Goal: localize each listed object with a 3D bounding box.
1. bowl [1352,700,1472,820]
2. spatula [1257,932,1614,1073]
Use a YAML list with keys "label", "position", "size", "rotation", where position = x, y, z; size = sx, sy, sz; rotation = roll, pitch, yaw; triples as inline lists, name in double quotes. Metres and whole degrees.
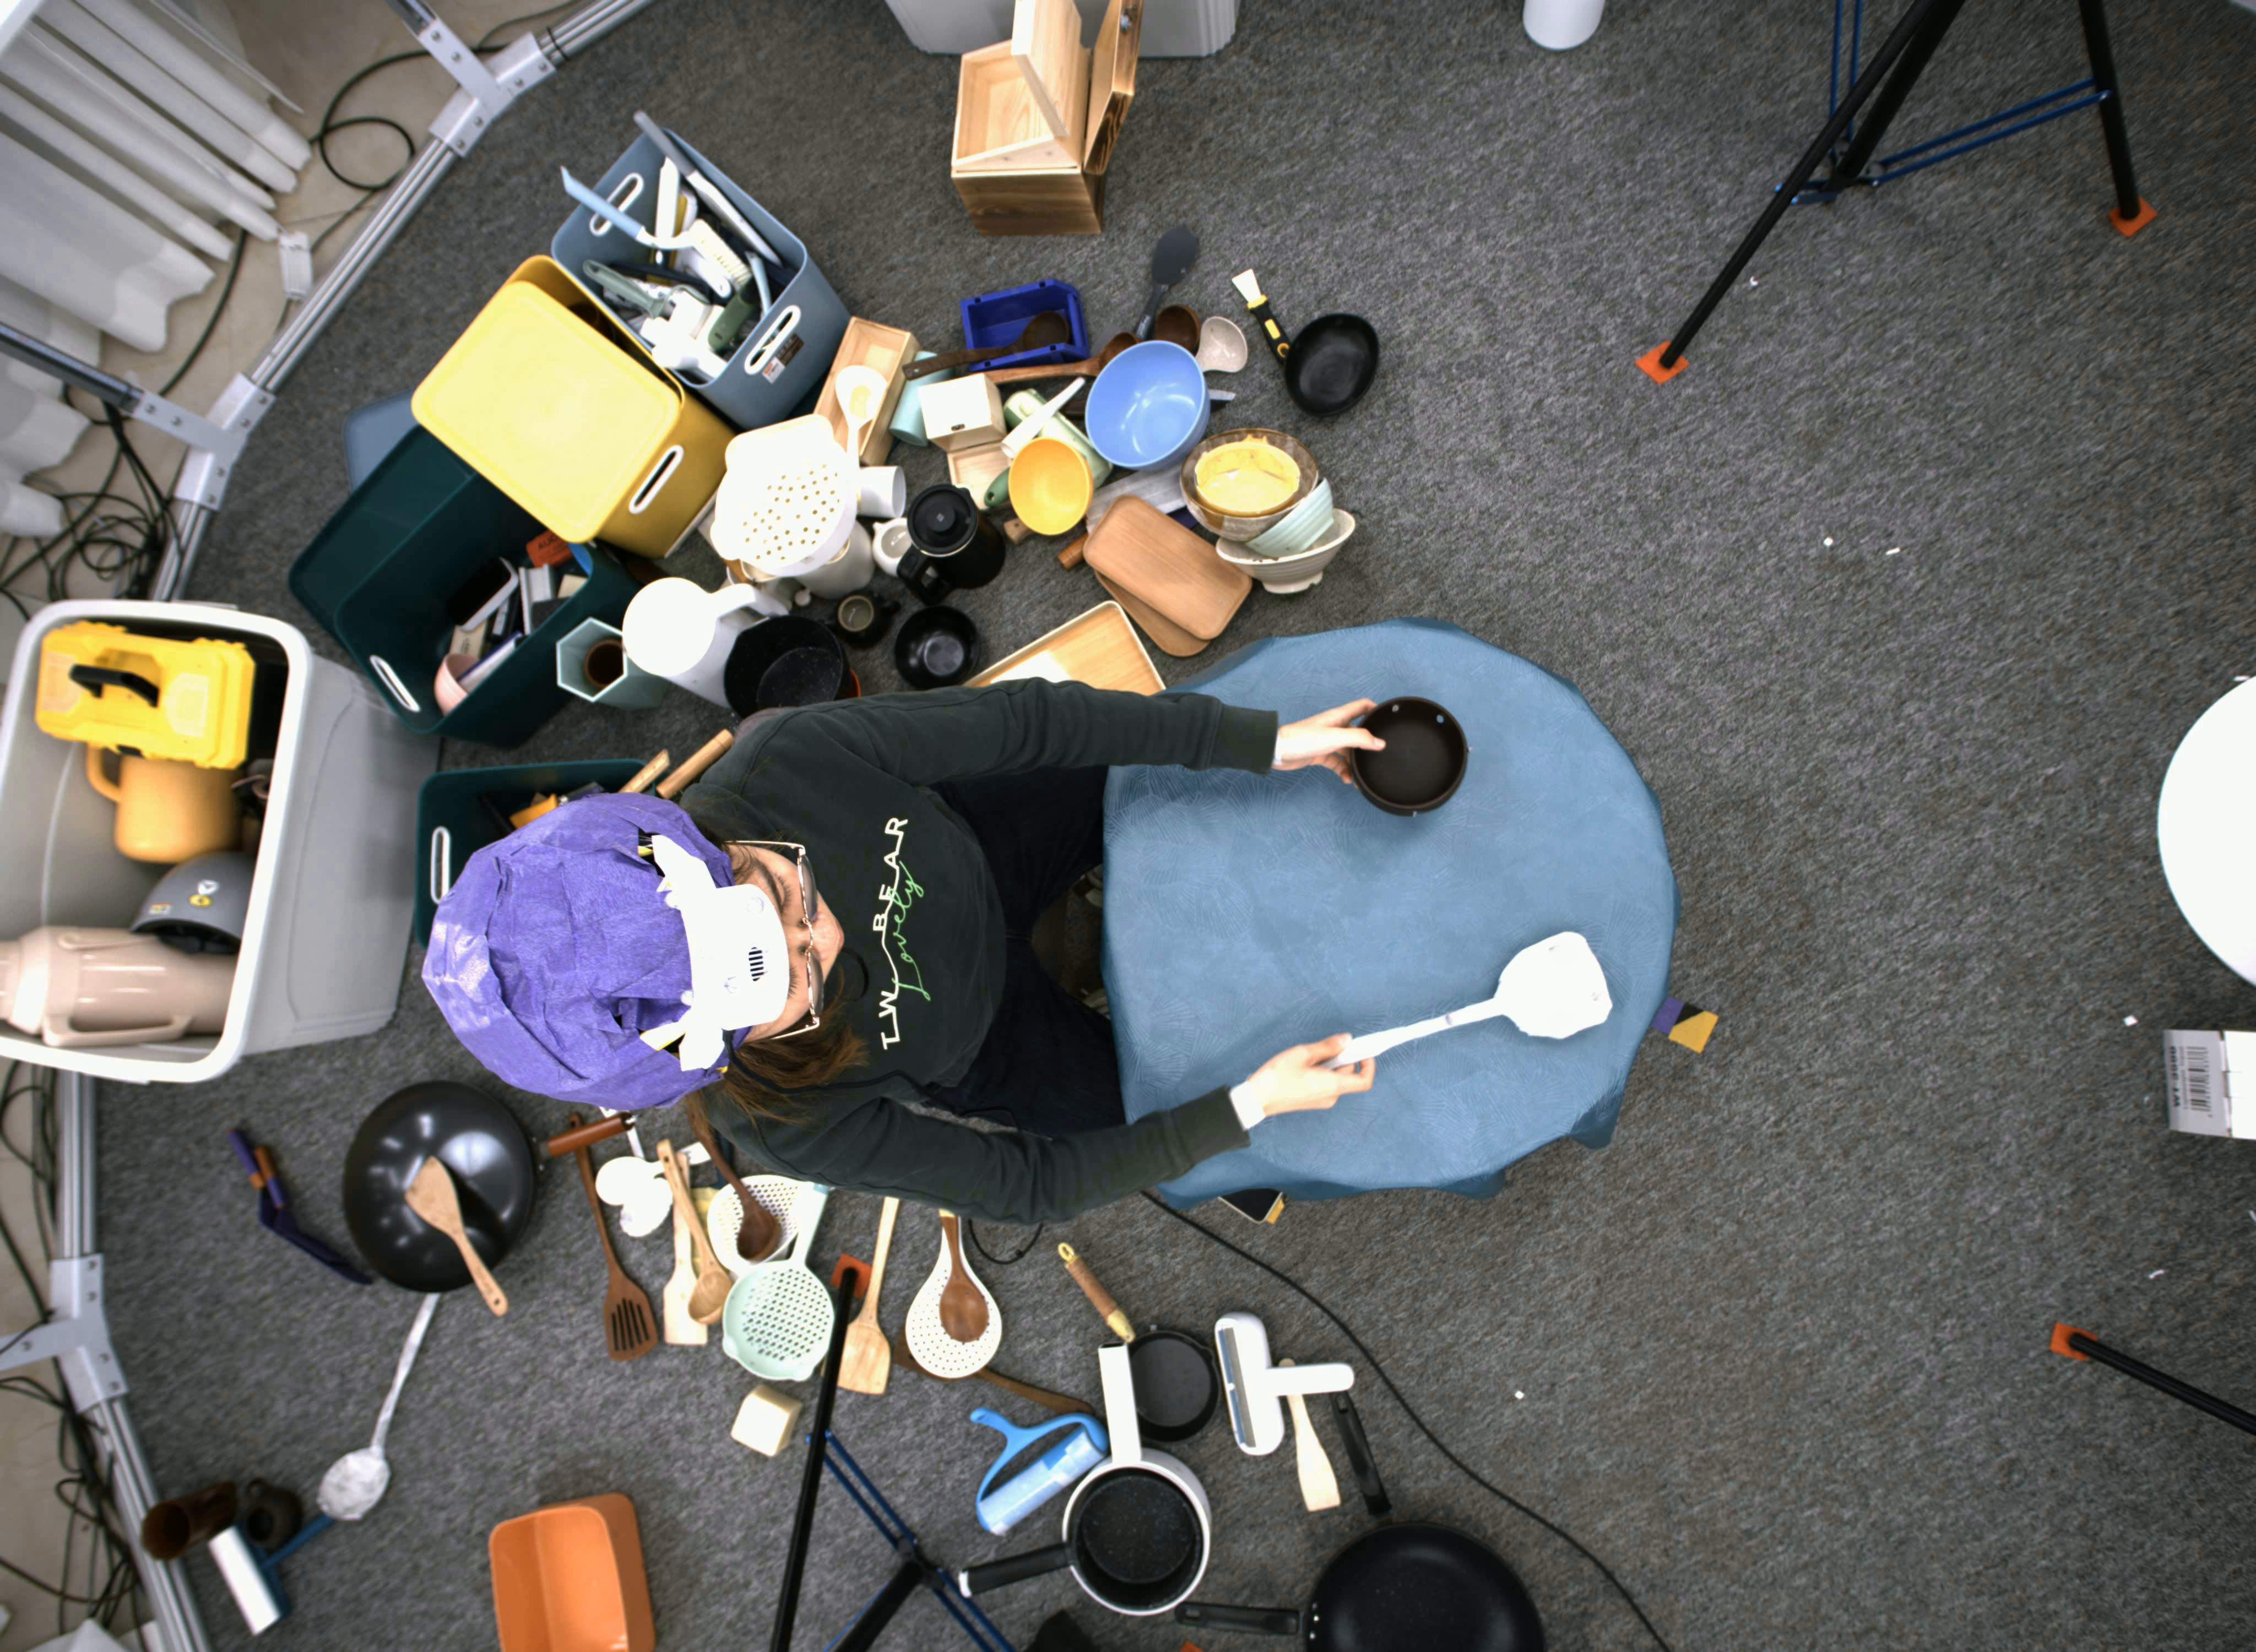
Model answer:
- label: "bowl"
  position: [0.285, -0.063, 1.380]
  size: [0.118, 0.070, 0.116]
  rotation: [-3, 77, 12]
- label: "spatula"
  position: [0.308, 0.194, 1.385]
  size: [0.364, 0.045, 0.097]
  rotation: [-14, 77, -6]
